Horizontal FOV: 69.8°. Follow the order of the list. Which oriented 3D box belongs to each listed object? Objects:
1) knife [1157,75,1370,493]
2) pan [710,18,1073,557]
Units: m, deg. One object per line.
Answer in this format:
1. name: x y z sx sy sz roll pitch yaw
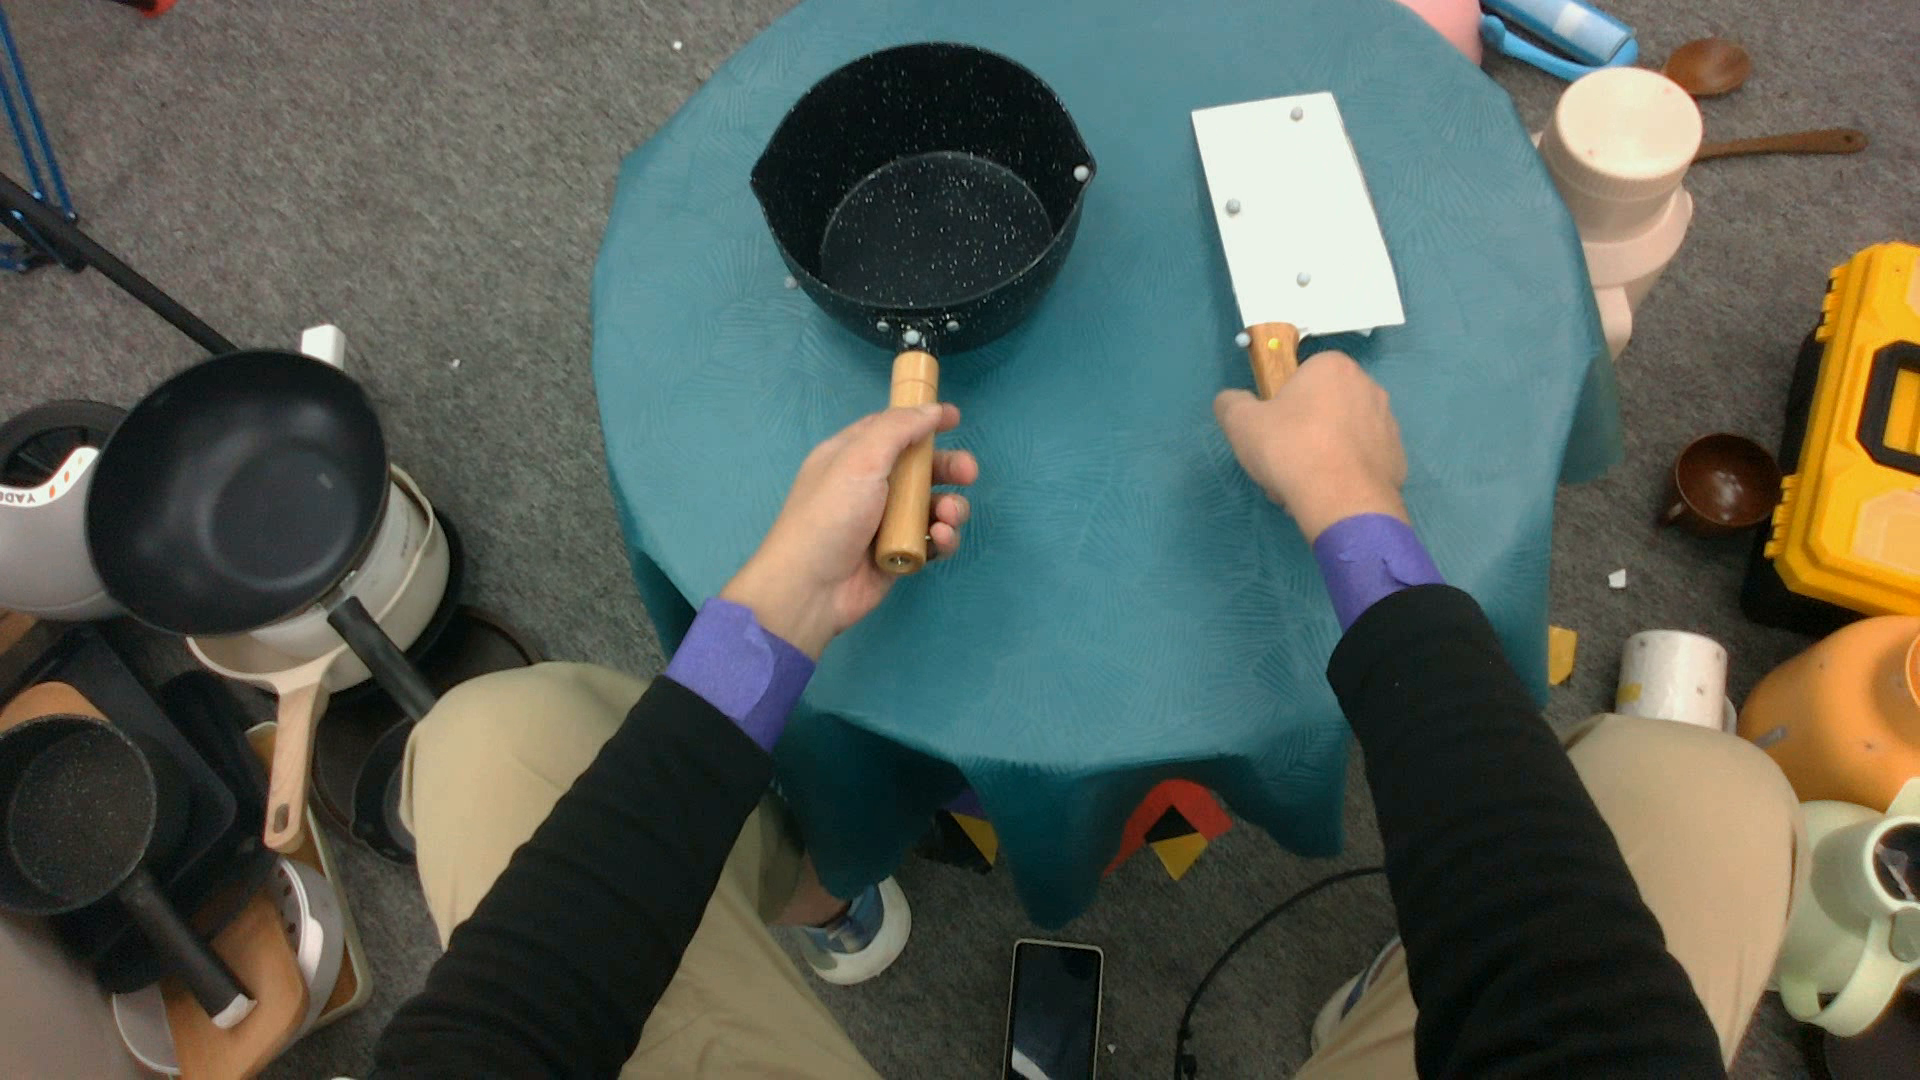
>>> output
1. knife: 0.185 -0.163 0.803 0.093 0.021 0.307 -7 60 0
2. pan: -0.037 -0.137 0.780 0.207 0.108 0.344 -2 67 4
